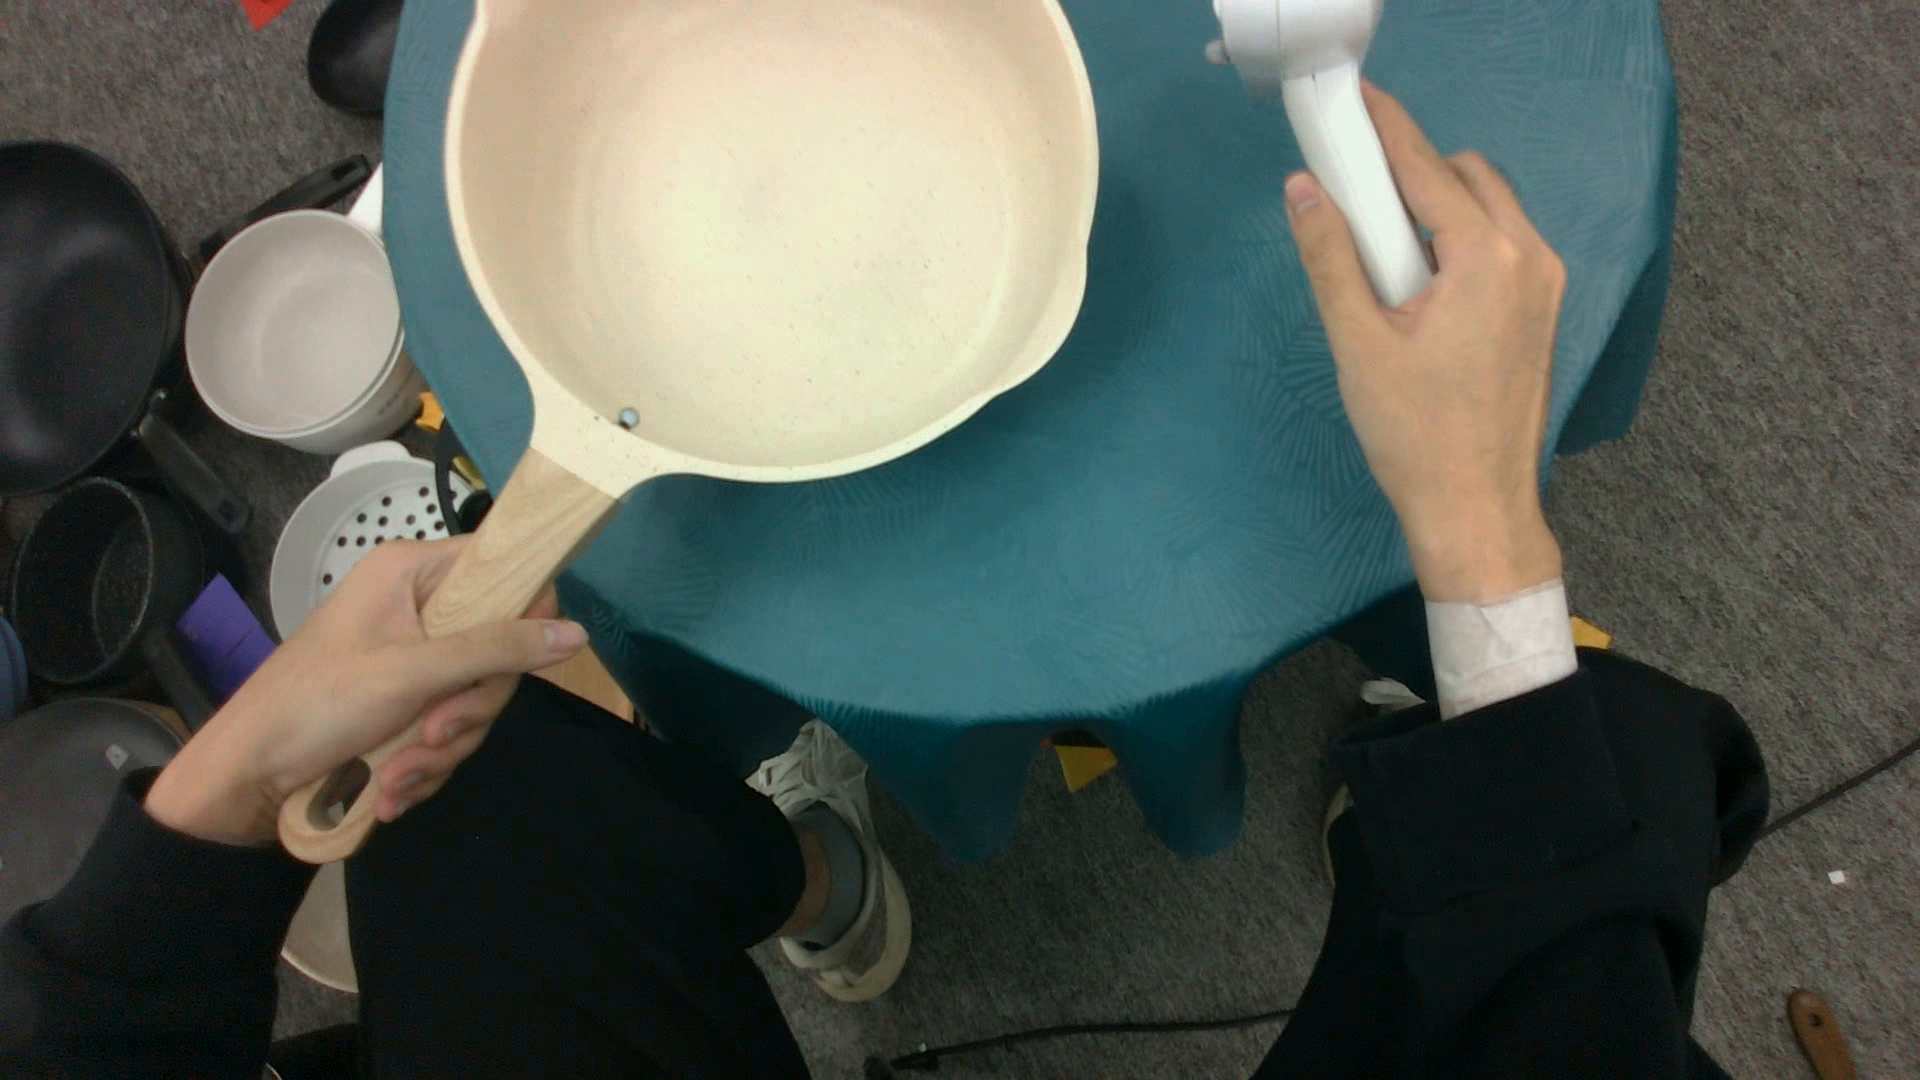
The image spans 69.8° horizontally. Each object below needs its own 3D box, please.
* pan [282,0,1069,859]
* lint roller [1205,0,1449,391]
[{"bbox_3d":[-0.130,-0.071,0.564,0.263,0.102,0.435,31,84,1],"label":"pan"},{"bbox_3d":[0.133,-0.144,0.499,0.074,0.193,0.192,-11,103,12],"label":"lint roller"}]
